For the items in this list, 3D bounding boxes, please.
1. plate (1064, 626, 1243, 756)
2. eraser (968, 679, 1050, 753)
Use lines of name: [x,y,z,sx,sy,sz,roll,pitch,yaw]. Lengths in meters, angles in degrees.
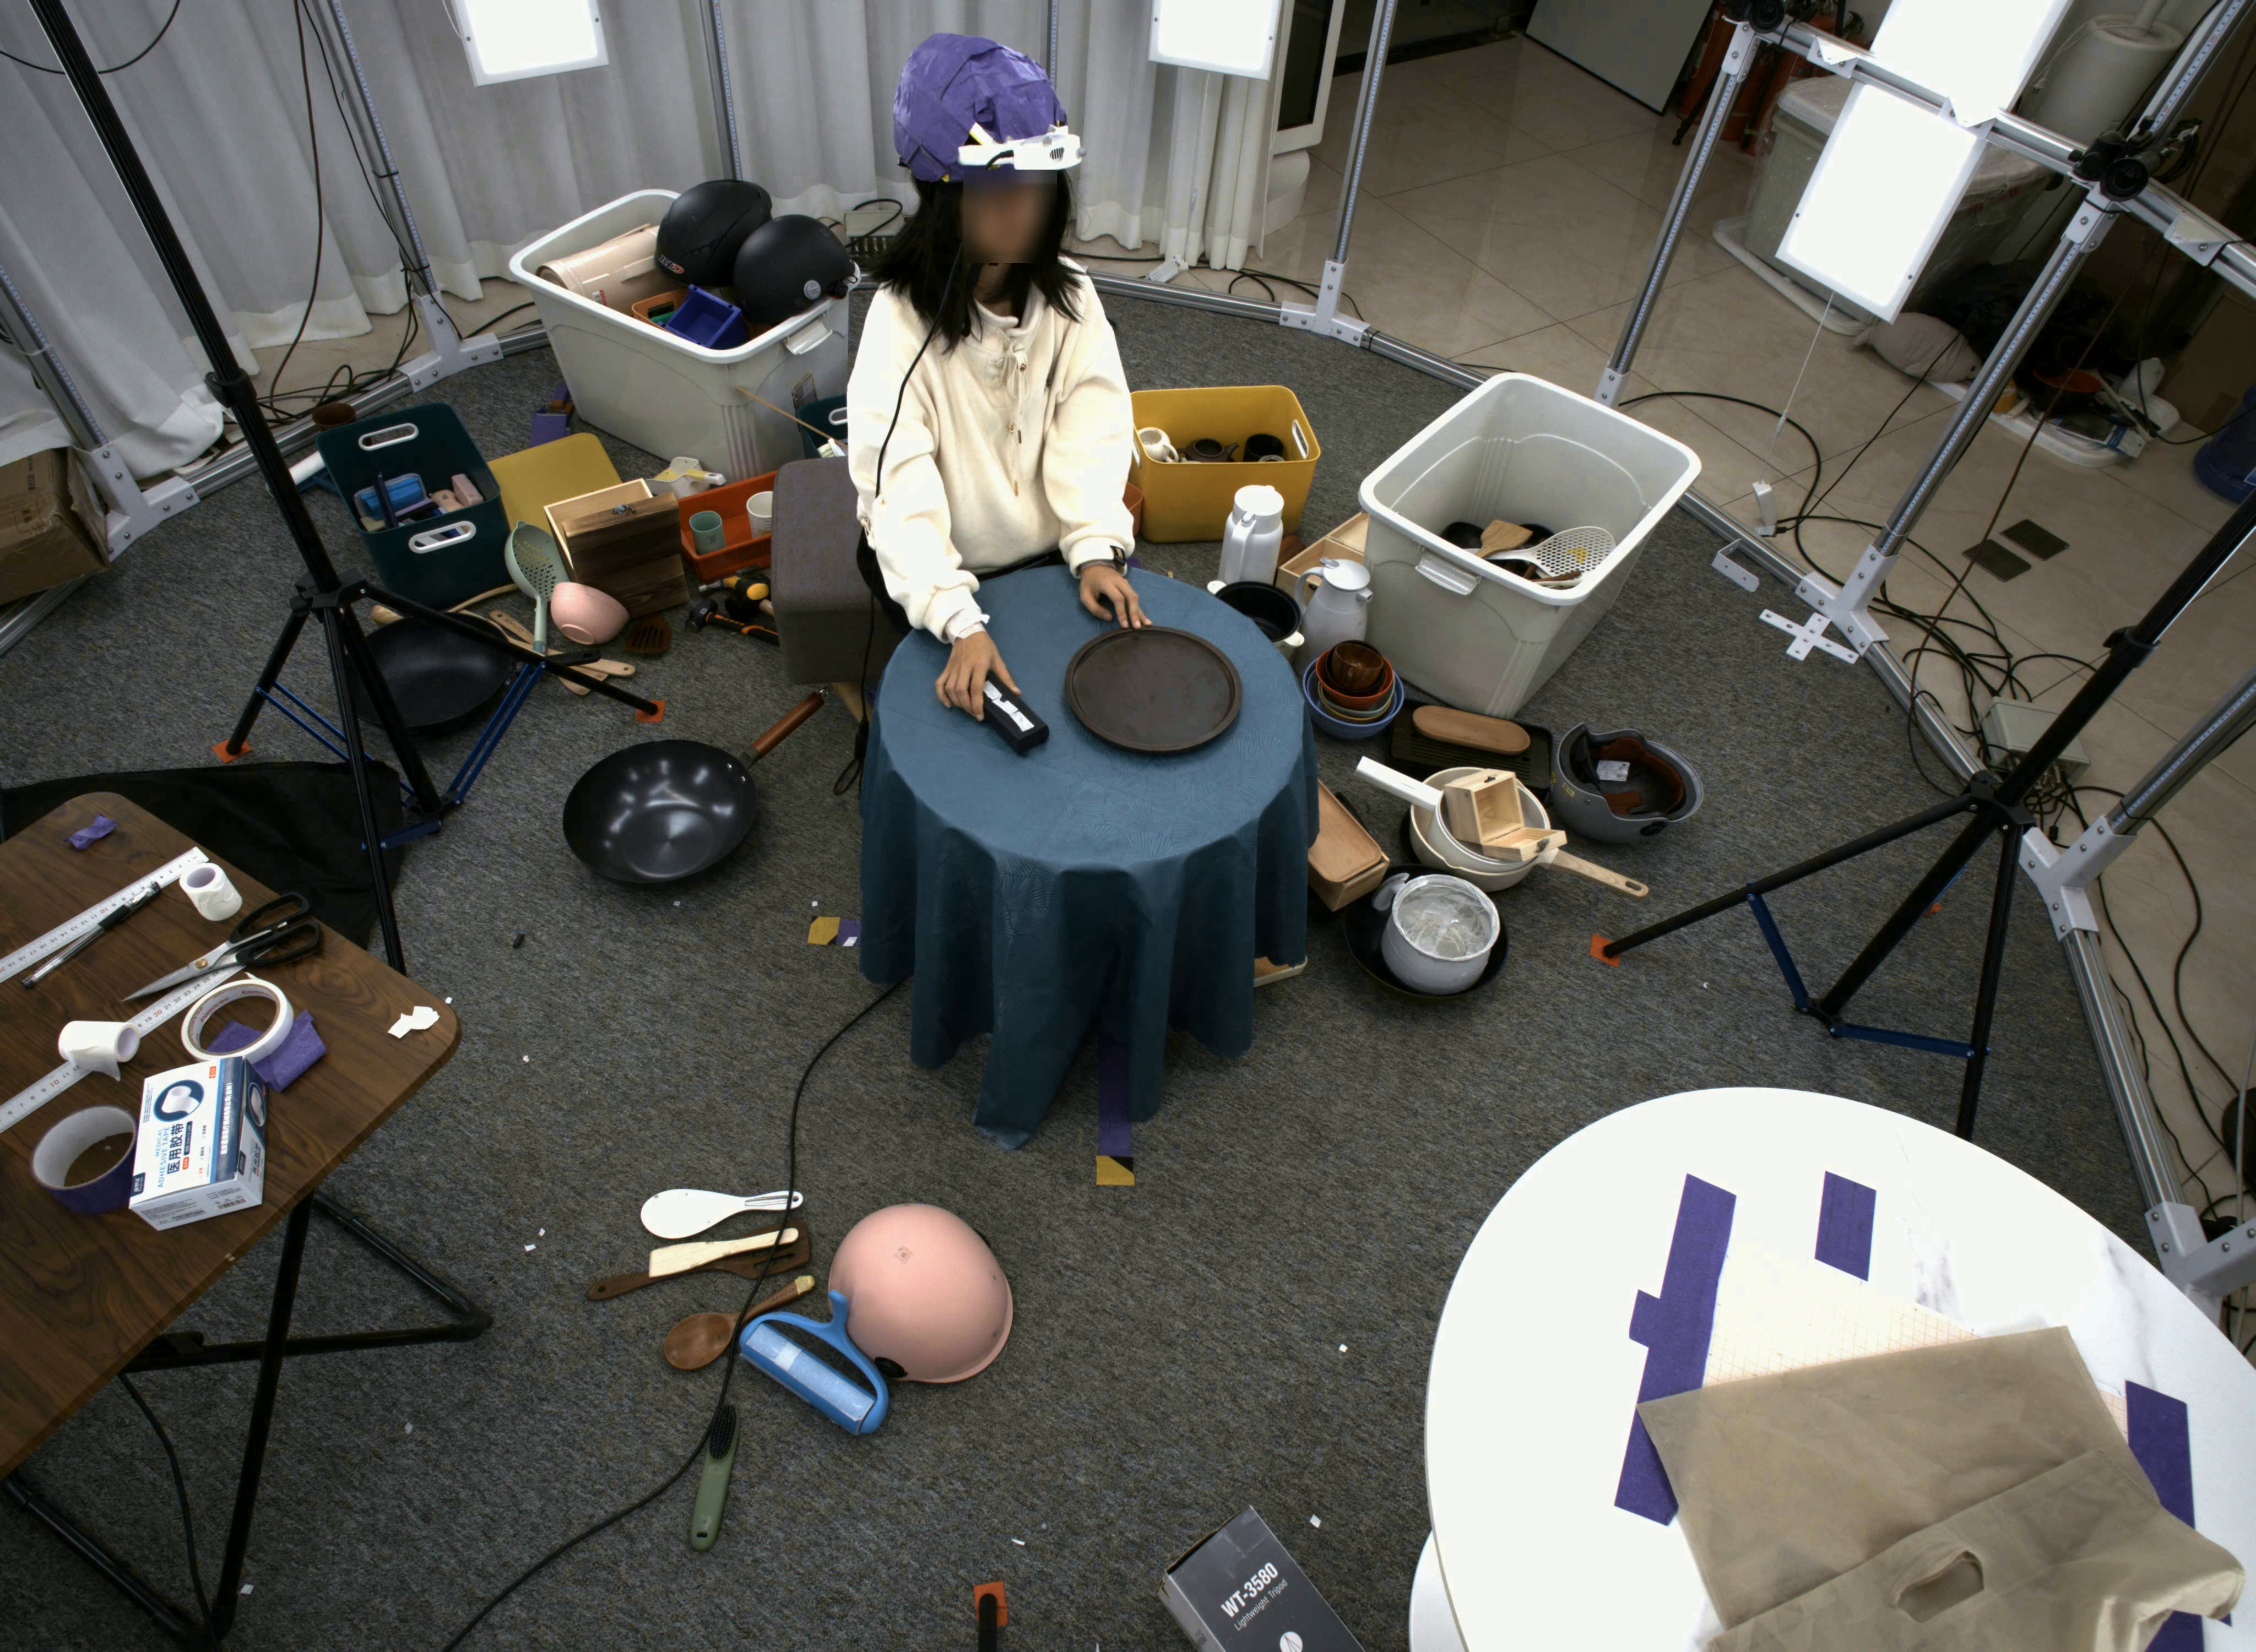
plate: [0.036,-0.194,1.825,0.254,0.028,0.261,2,50,-3]
eraser: [-0.165,-0.153,1.775,0.054,0.030,0.128,-28,55,-28]
